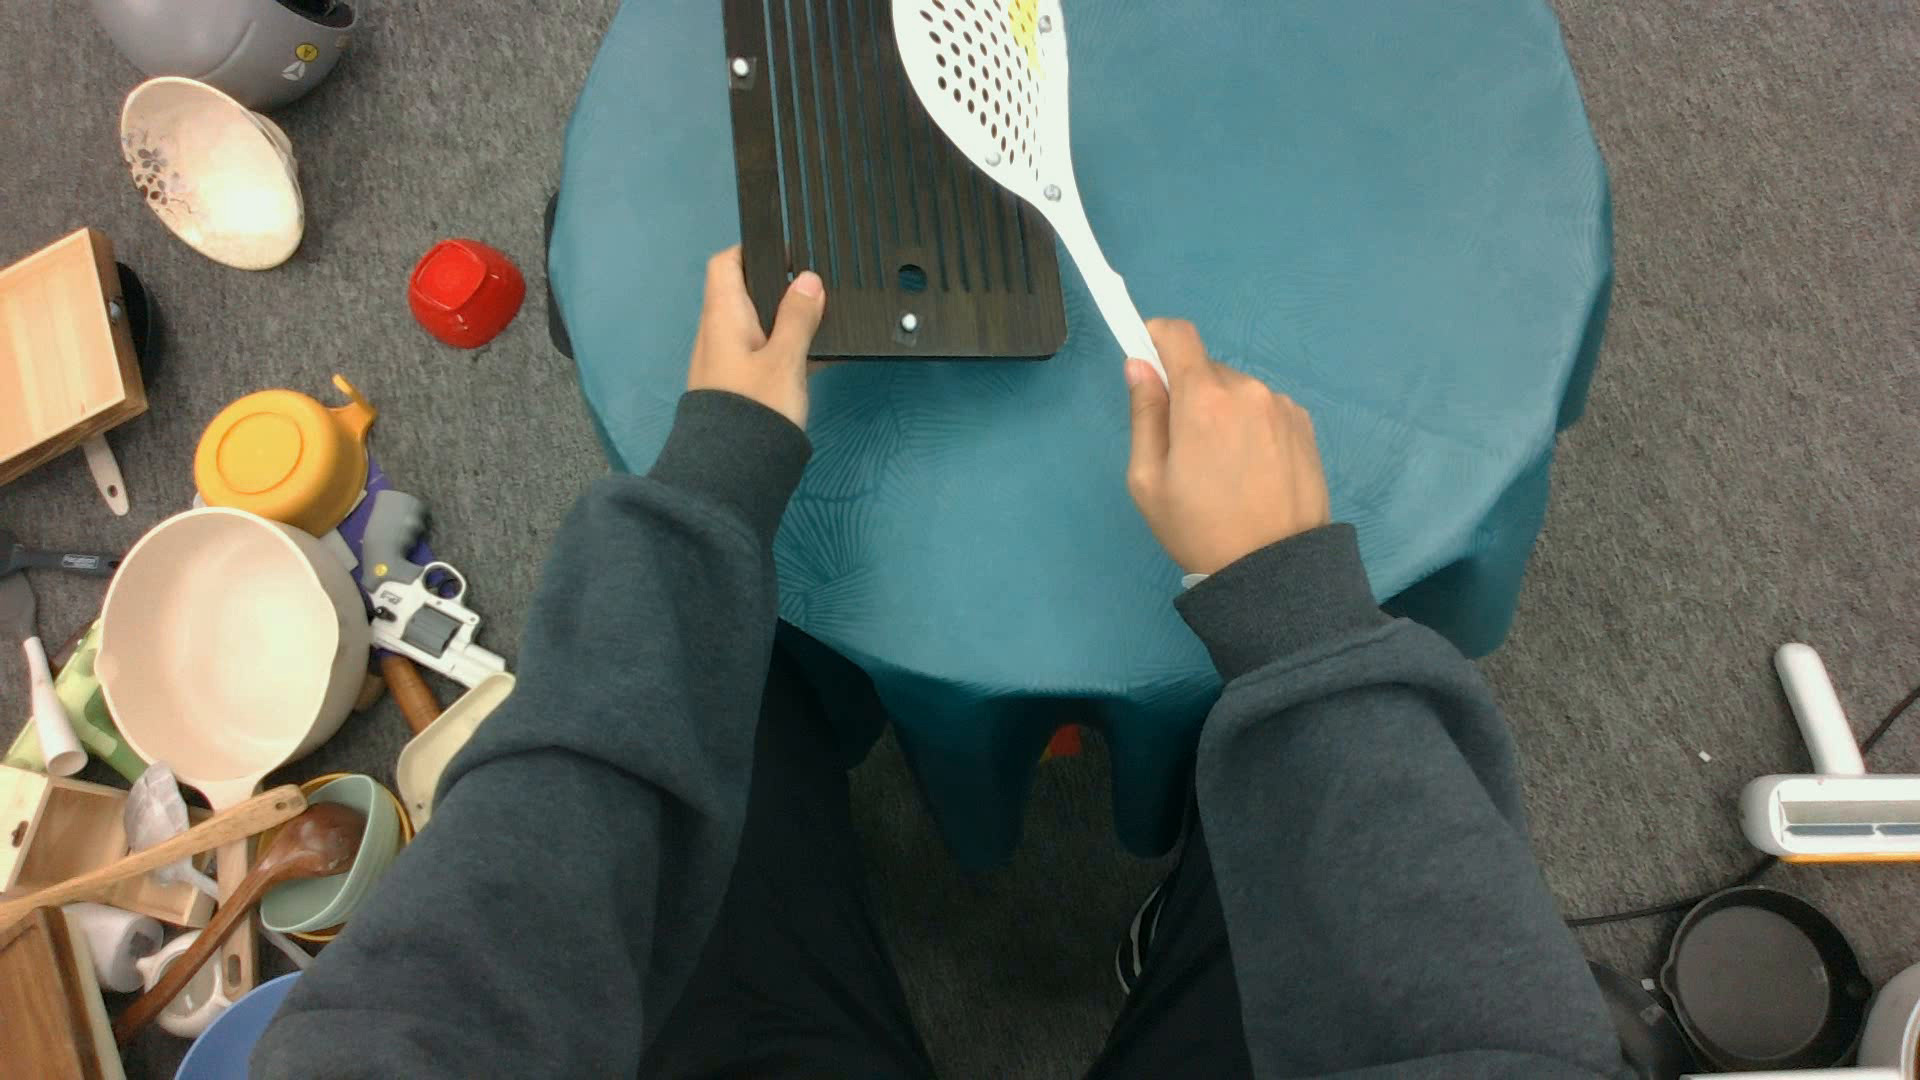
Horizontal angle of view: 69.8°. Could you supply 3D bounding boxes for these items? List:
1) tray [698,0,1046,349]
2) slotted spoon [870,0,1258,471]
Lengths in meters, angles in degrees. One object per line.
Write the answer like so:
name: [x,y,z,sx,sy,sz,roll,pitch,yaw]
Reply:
tray: [-0.054,-0.245,0.748,0.170,0.018,0.306,-2,75,-17]
slotted spoon: [0.047,-0.179,0.669,0.050,0.136,0.348,-15,73,-26]
